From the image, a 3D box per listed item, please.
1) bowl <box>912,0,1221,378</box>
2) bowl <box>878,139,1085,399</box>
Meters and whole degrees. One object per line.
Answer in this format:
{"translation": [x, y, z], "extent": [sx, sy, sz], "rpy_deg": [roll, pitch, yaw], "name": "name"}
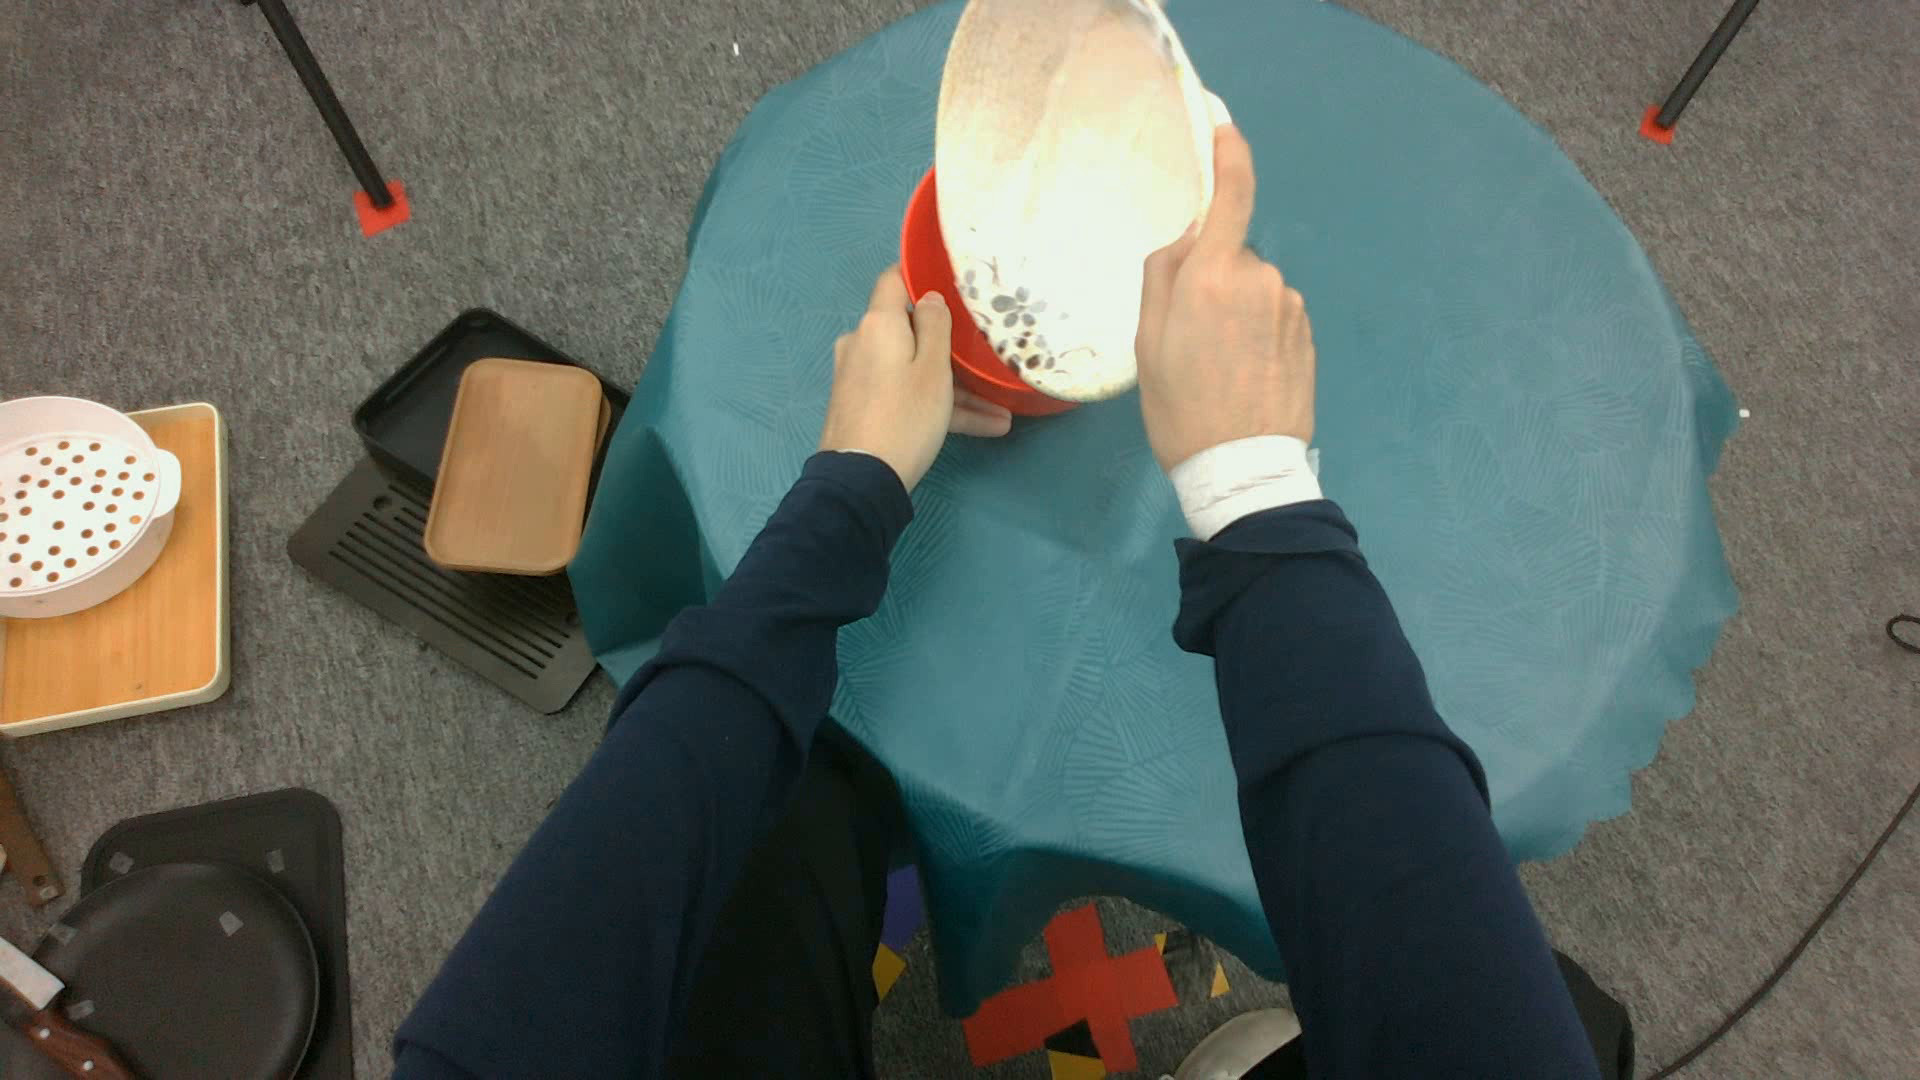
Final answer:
{"translation": [0.065, -0.183, 0.653], "extent": [0.078, 0.203, 0.204], "rpy_deg": [-16, 67, -34], "name": "bowl"}
{"translation": [0.028, -0.142, 0.749], "extent": [0.148, 0.104, 0.148], "rpy_deg": [2, 69, -5], "name": "bowl"}
